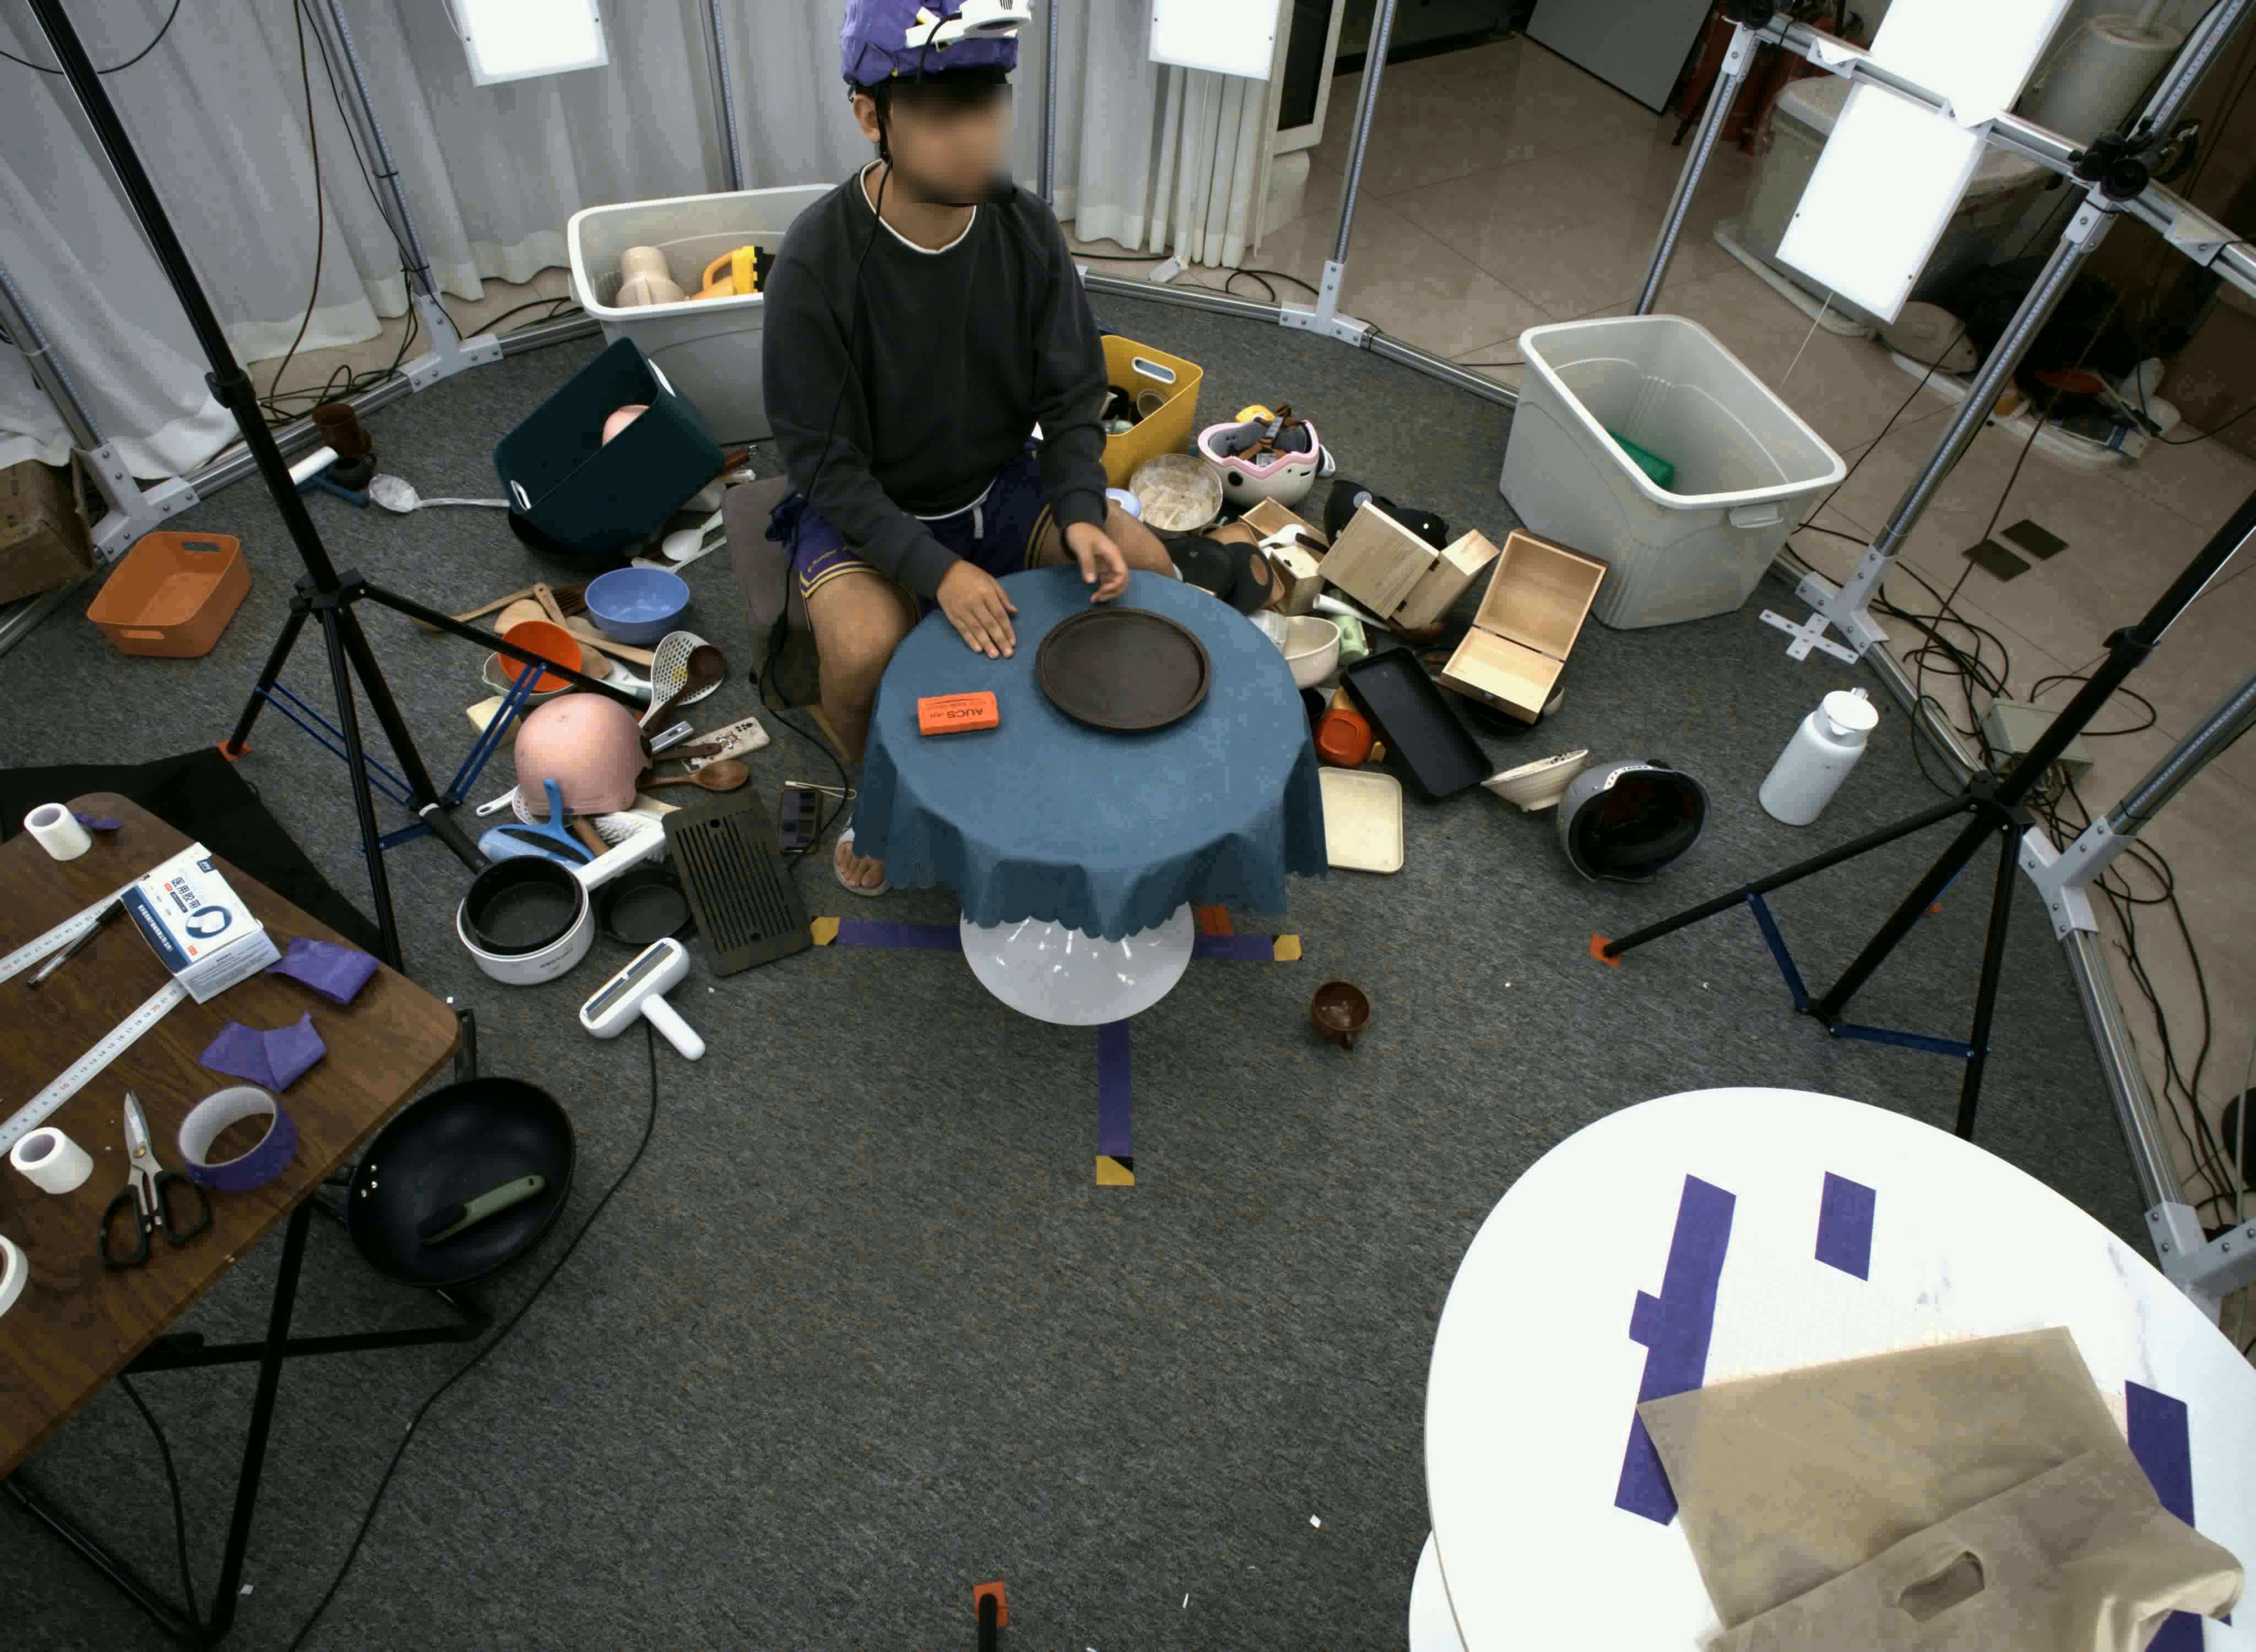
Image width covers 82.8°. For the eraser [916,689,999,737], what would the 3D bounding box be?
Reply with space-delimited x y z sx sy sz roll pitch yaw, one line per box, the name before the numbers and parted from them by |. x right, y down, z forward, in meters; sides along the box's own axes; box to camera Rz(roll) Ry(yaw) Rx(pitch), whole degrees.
eraser | -0.234 -0.156 1.766 0.108 0.022 0.060 -8 50 -9

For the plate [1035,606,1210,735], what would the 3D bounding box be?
plate | -0.007 -0.225 1.847 0.254 0.028 0.261 1 50 -1
